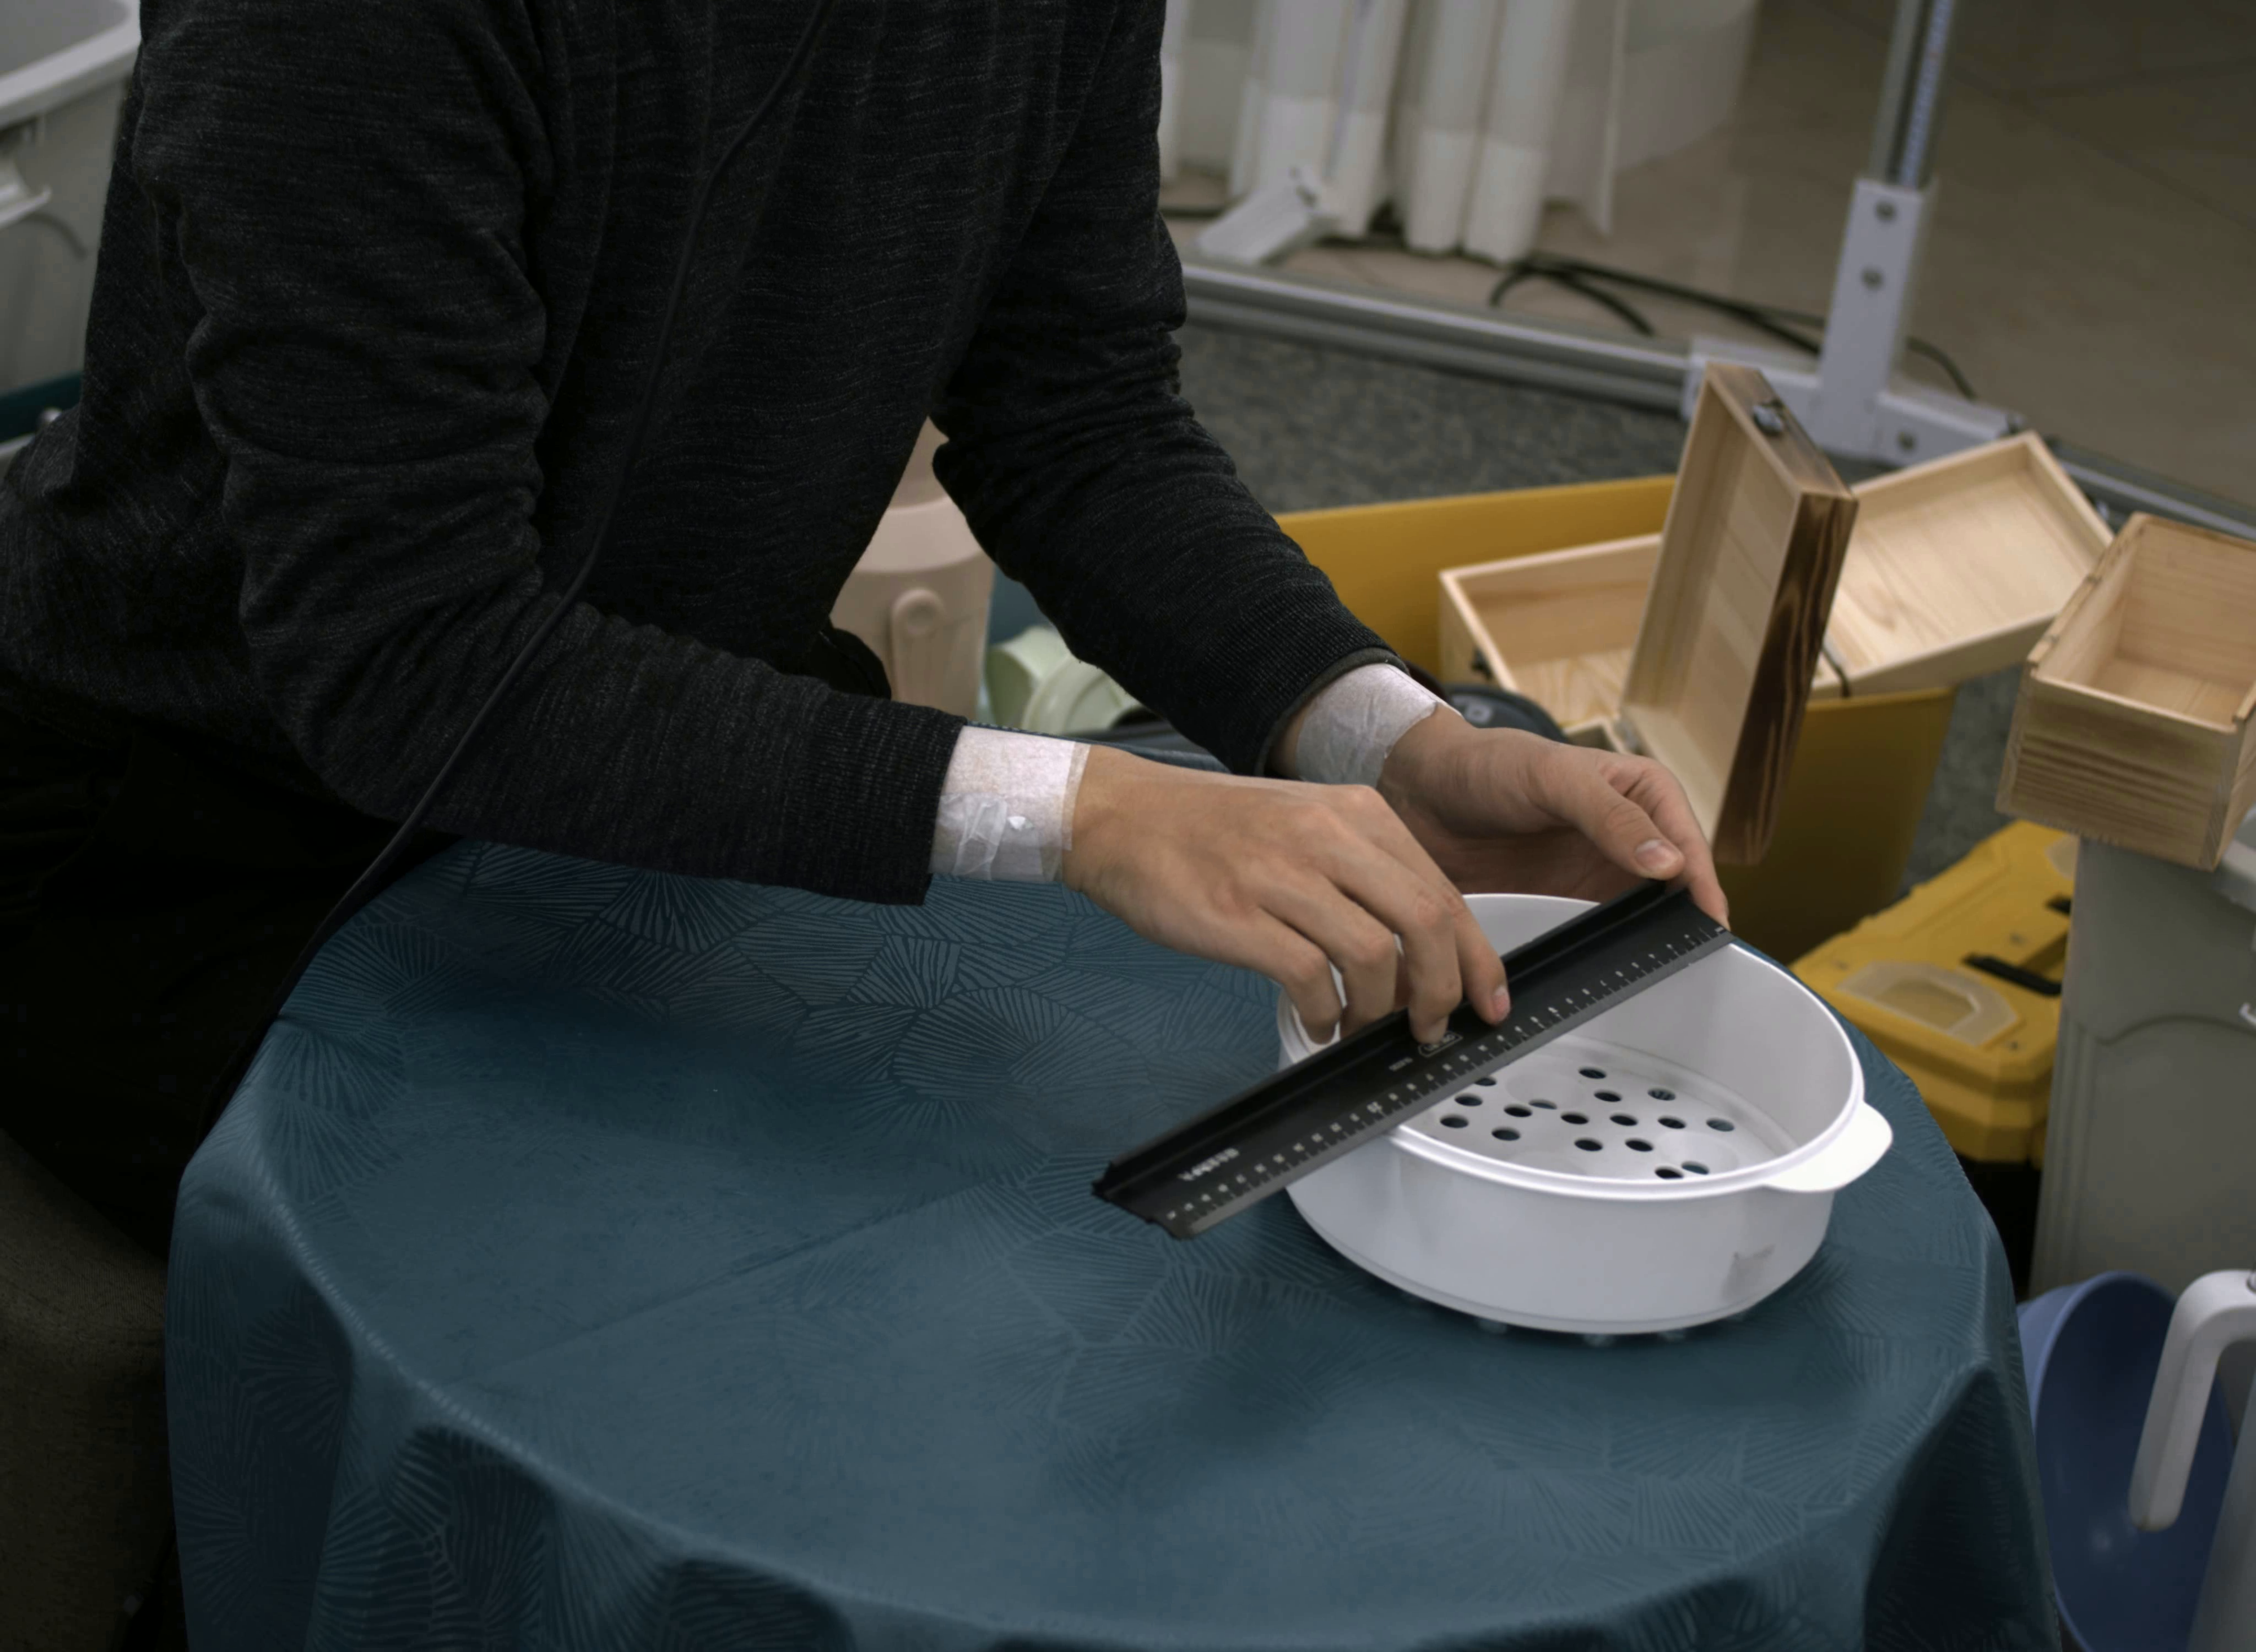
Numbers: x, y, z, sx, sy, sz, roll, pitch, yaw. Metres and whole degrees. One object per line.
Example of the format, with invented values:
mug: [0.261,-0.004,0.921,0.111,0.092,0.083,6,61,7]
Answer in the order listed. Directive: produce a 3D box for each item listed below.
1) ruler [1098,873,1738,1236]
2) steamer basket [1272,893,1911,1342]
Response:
ruler: [0.103,0.072,1.764,0.039,0.017,0.311,29,34,31]
steamer basket: [0.151,0.099,1.808,0.232,0.069,0.201,24,31,26]
